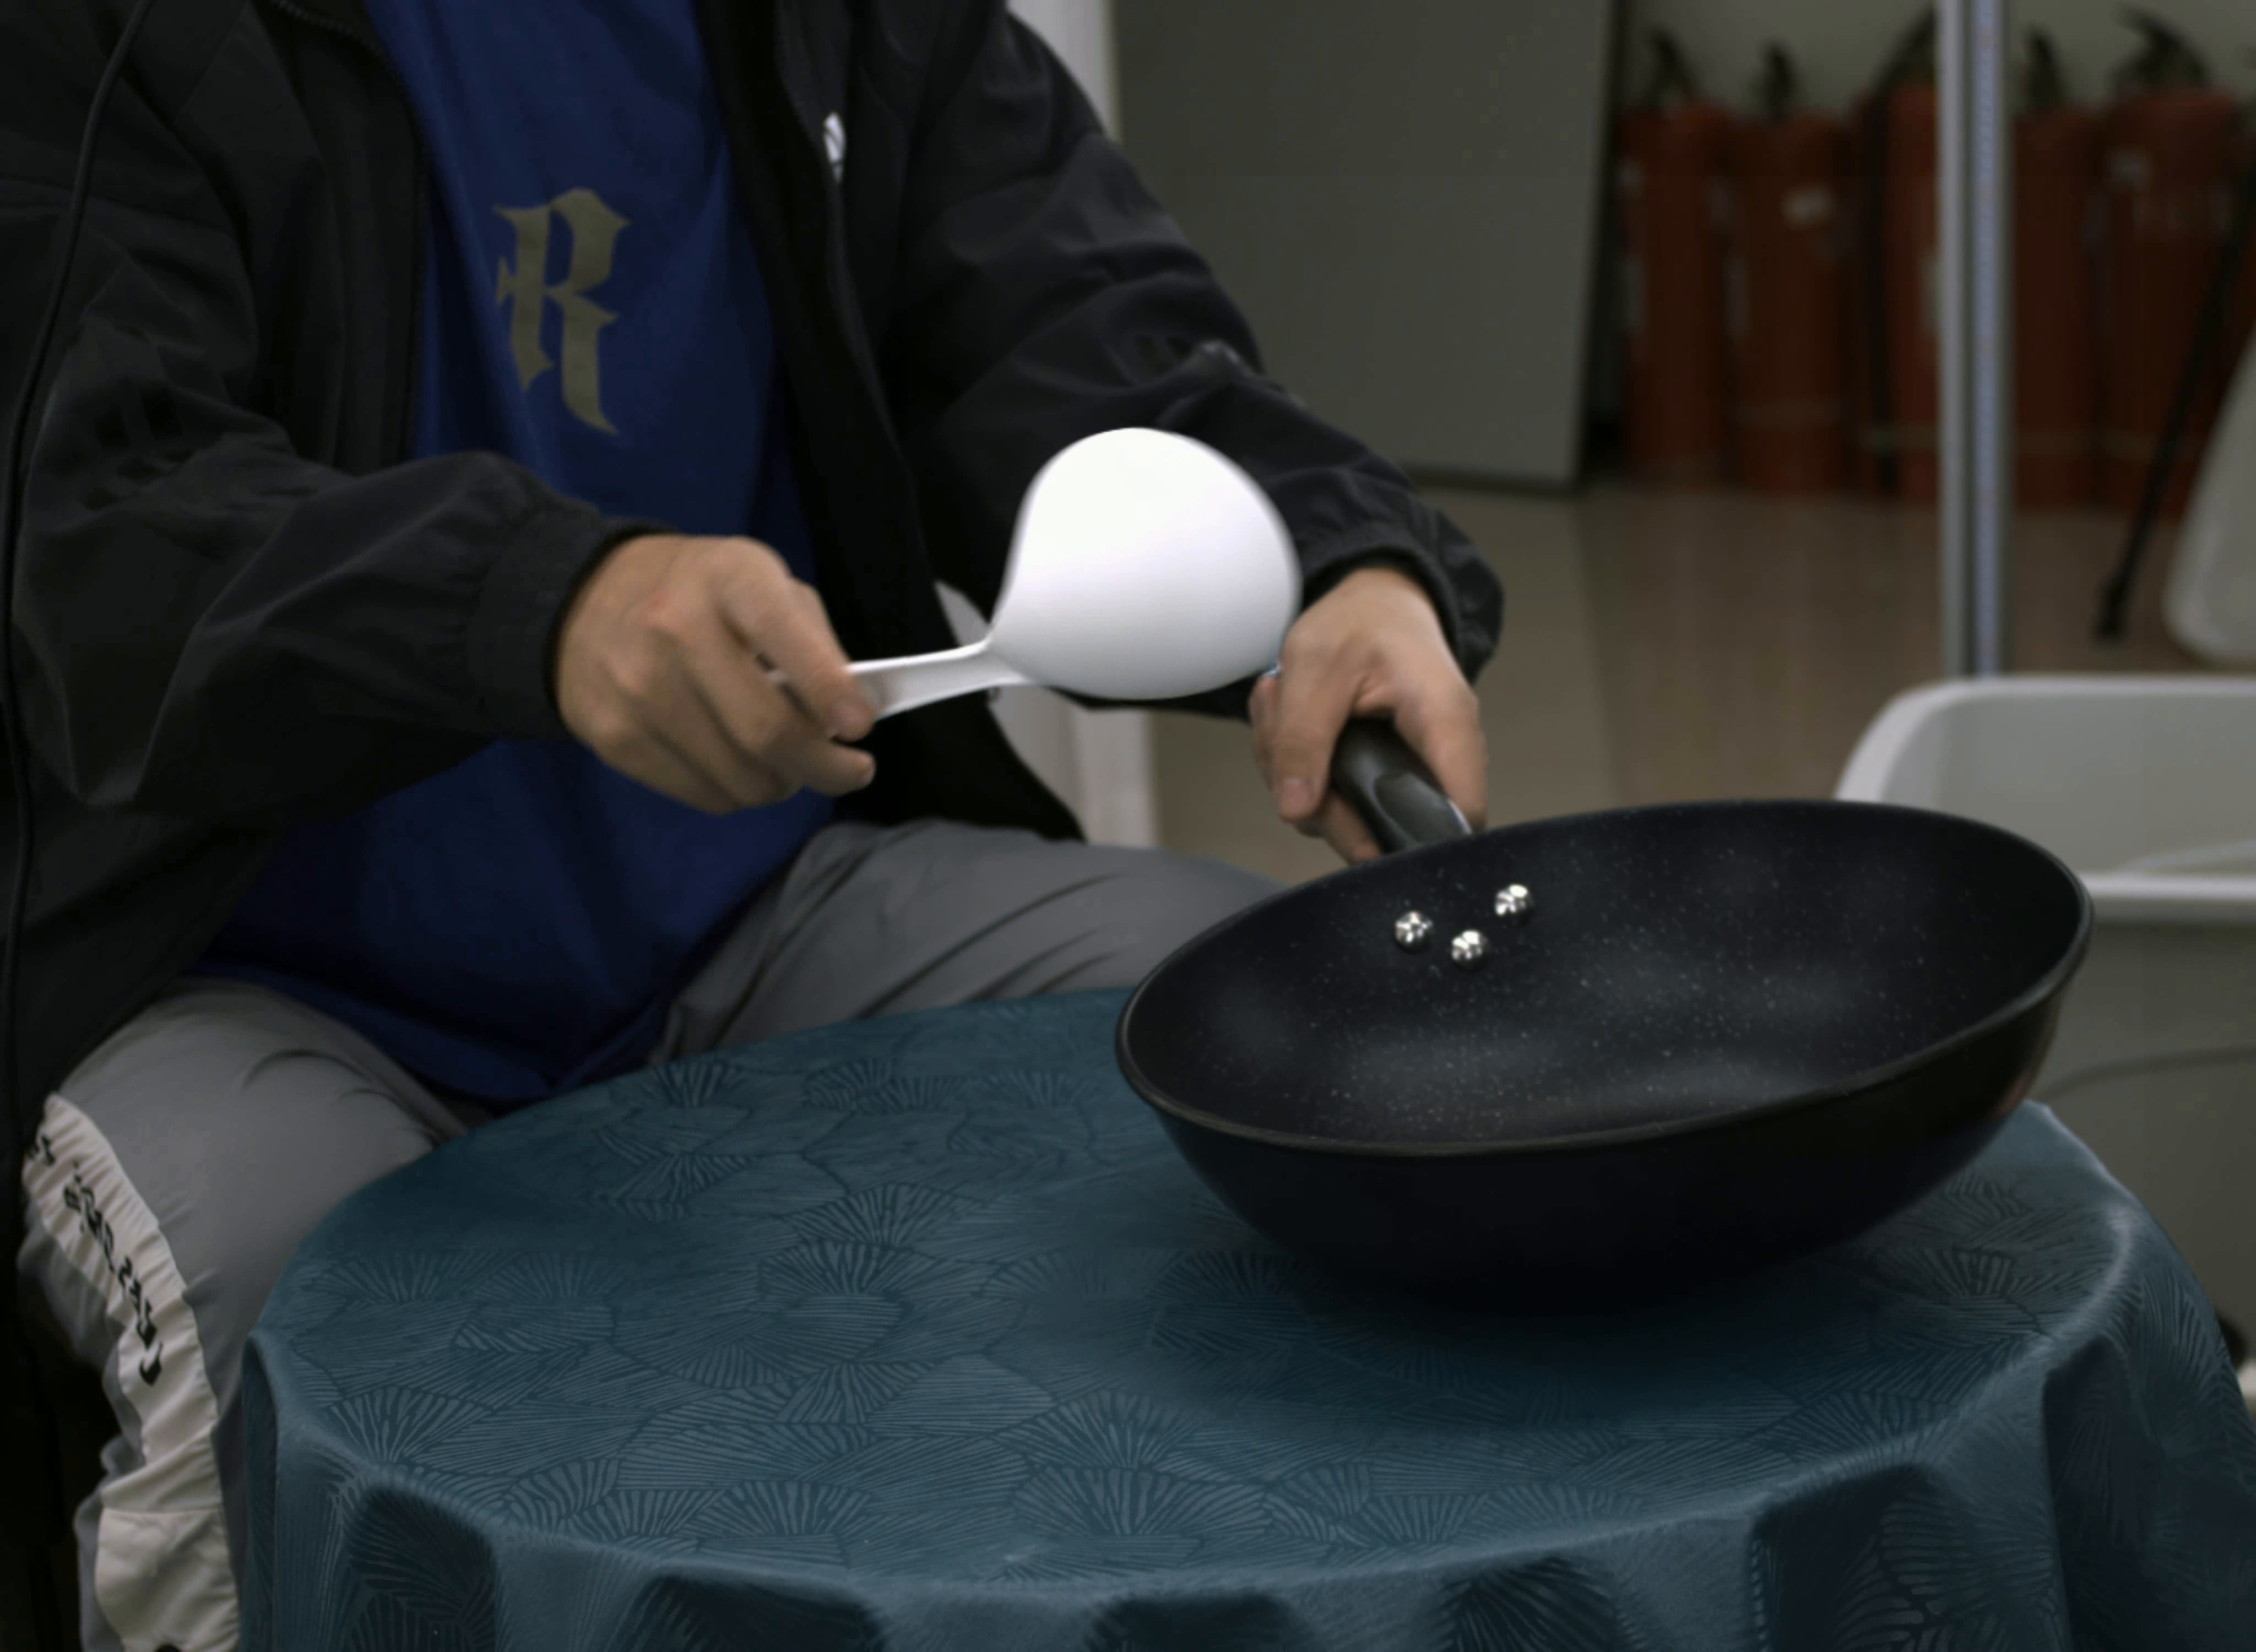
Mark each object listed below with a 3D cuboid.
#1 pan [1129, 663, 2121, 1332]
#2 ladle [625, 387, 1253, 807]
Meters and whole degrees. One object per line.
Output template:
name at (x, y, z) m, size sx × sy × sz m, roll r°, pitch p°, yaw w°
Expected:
pan at (0.133, 0.053, 1.751) m, size 0.305 × 0.113 × 0.481 m, roll -12°, pitch 17°, yaw -12°
ladle at (-0.070, -0.063, 1.701) m, size 0.296 × 0.089 × 0.070 m, roll -20°, pitch 33°, yaw 56°
